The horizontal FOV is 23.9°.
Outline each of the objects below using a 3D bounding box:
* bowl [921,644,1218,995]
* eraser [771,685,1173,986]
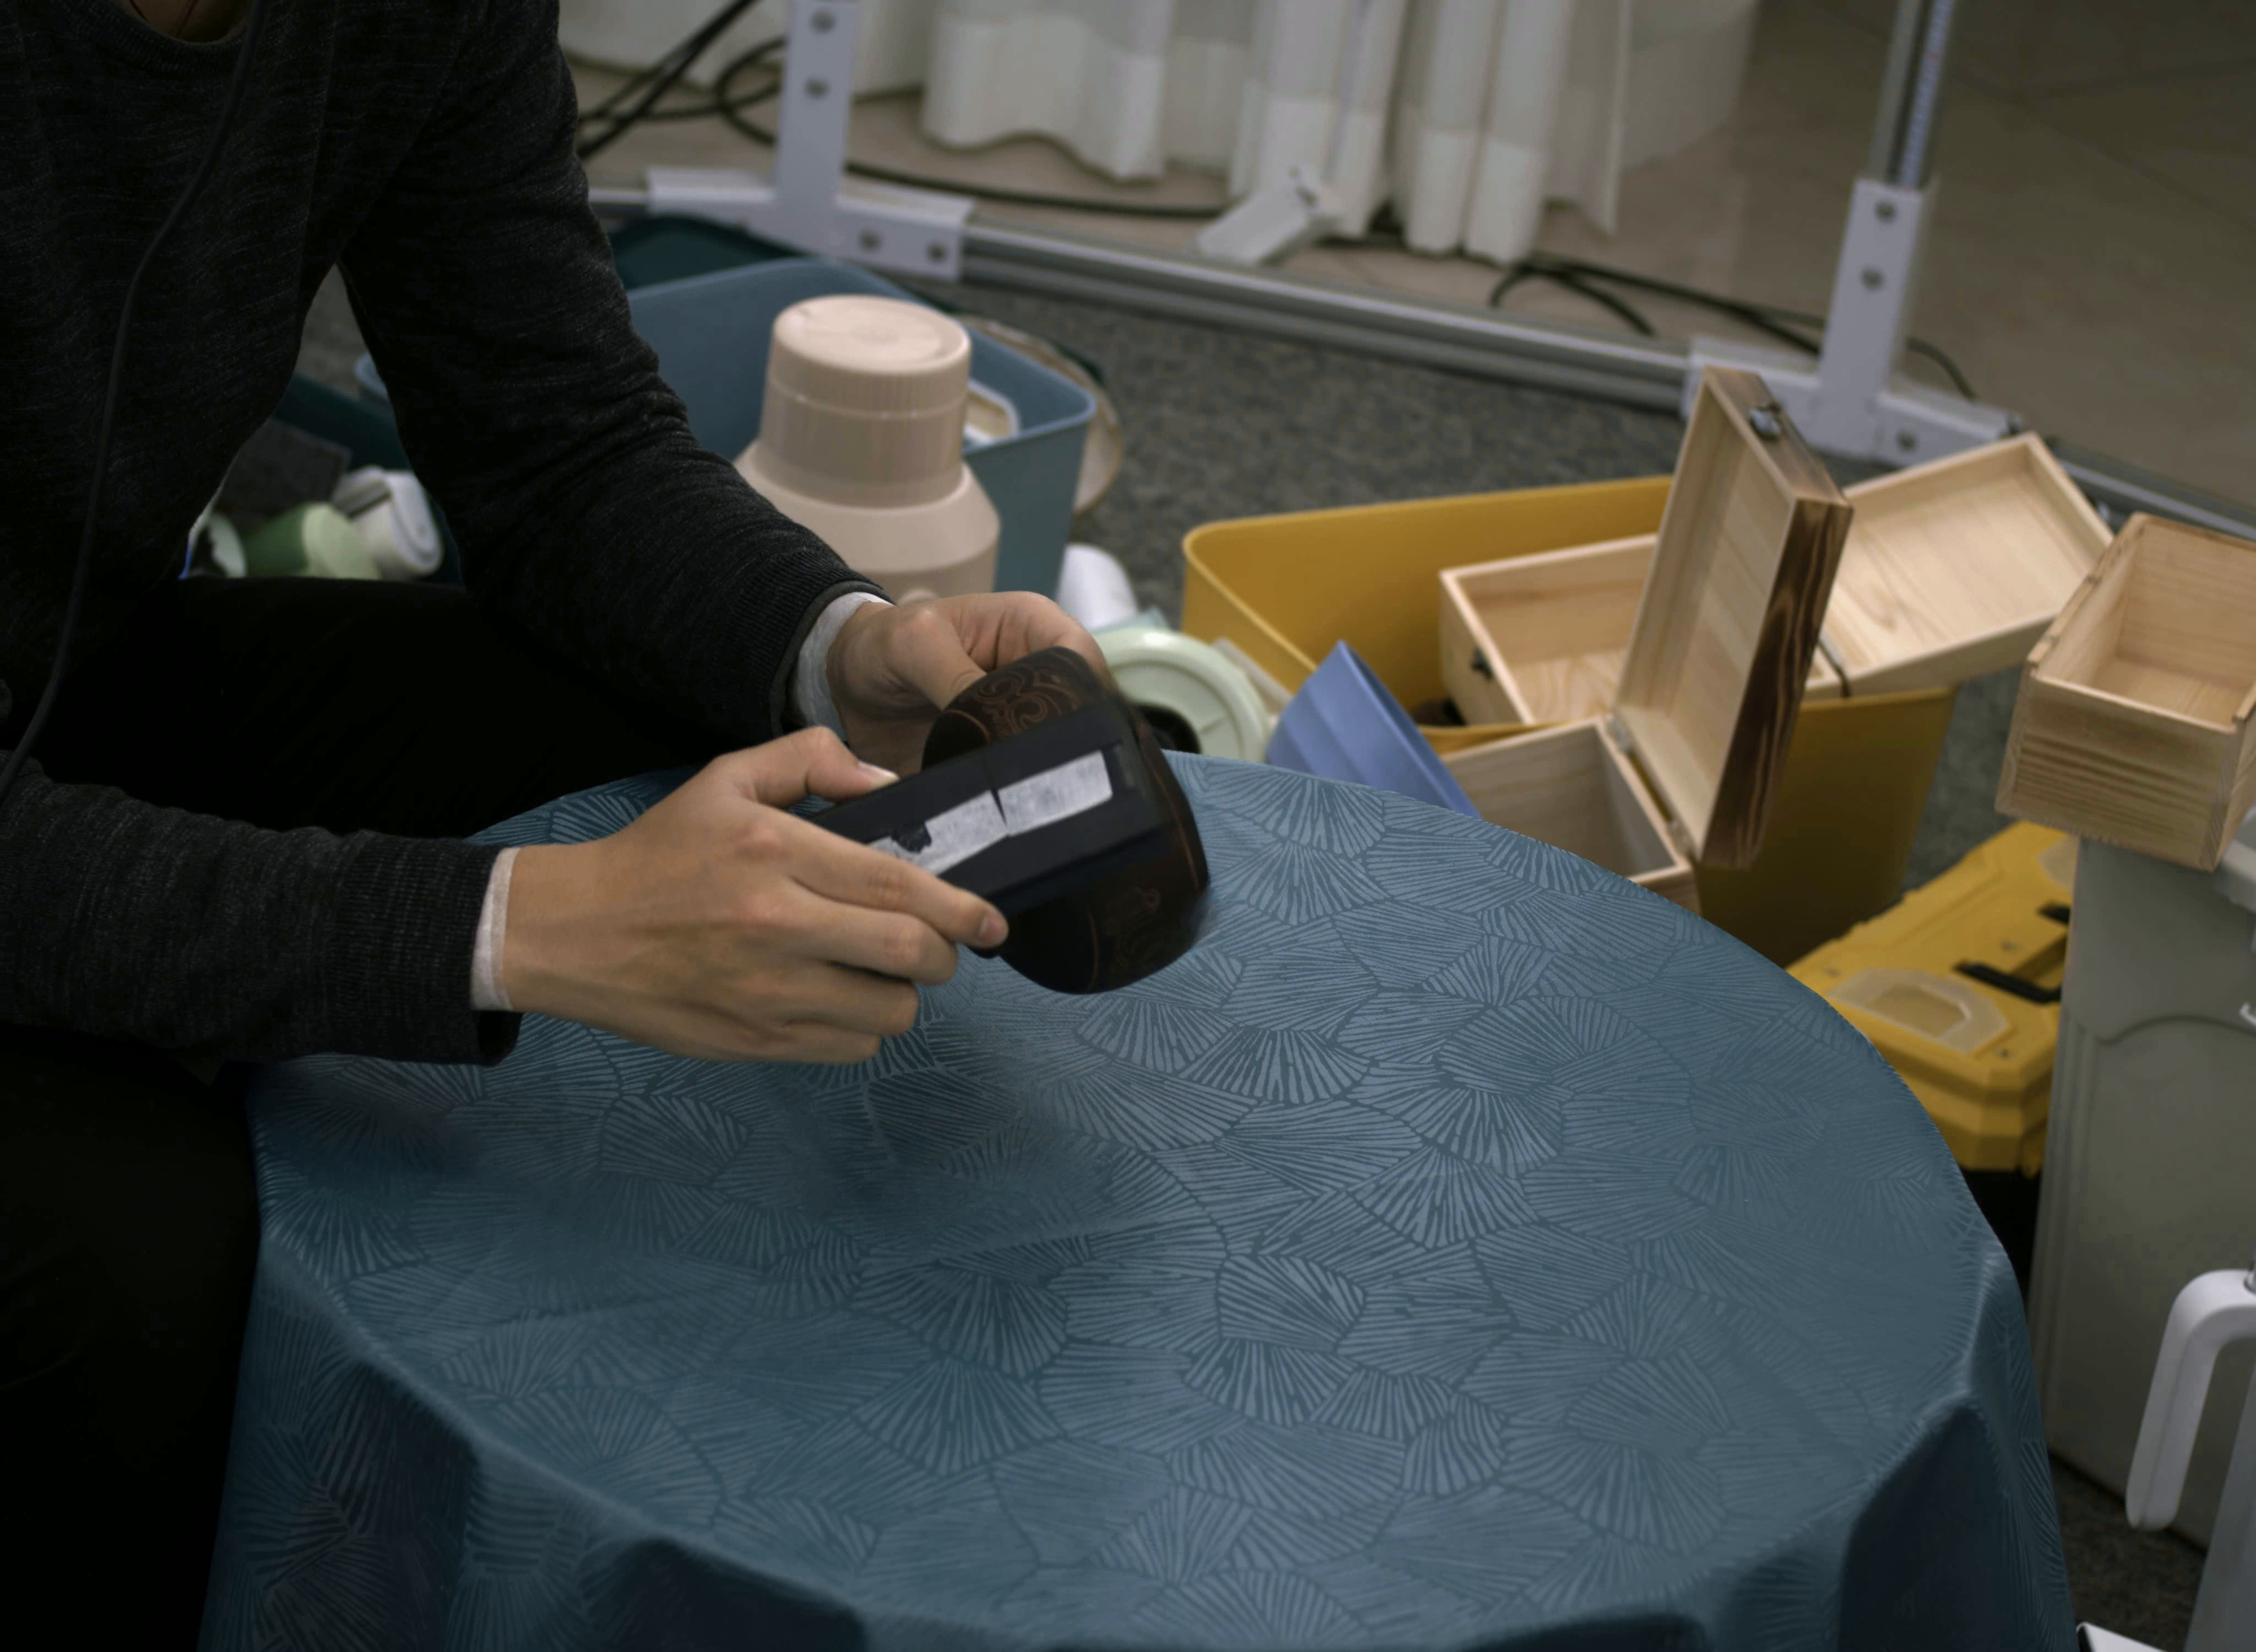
[{"bbox_3d":[-0.029,0.005,1.796,0.069,0.117,0.119,-28,39,-21],"label":"bowl"},{"bbox_3d":[-0.050,0.003,1.732,0.125,0.030,0.054,-24,71,6],"label":"eraser"}]
